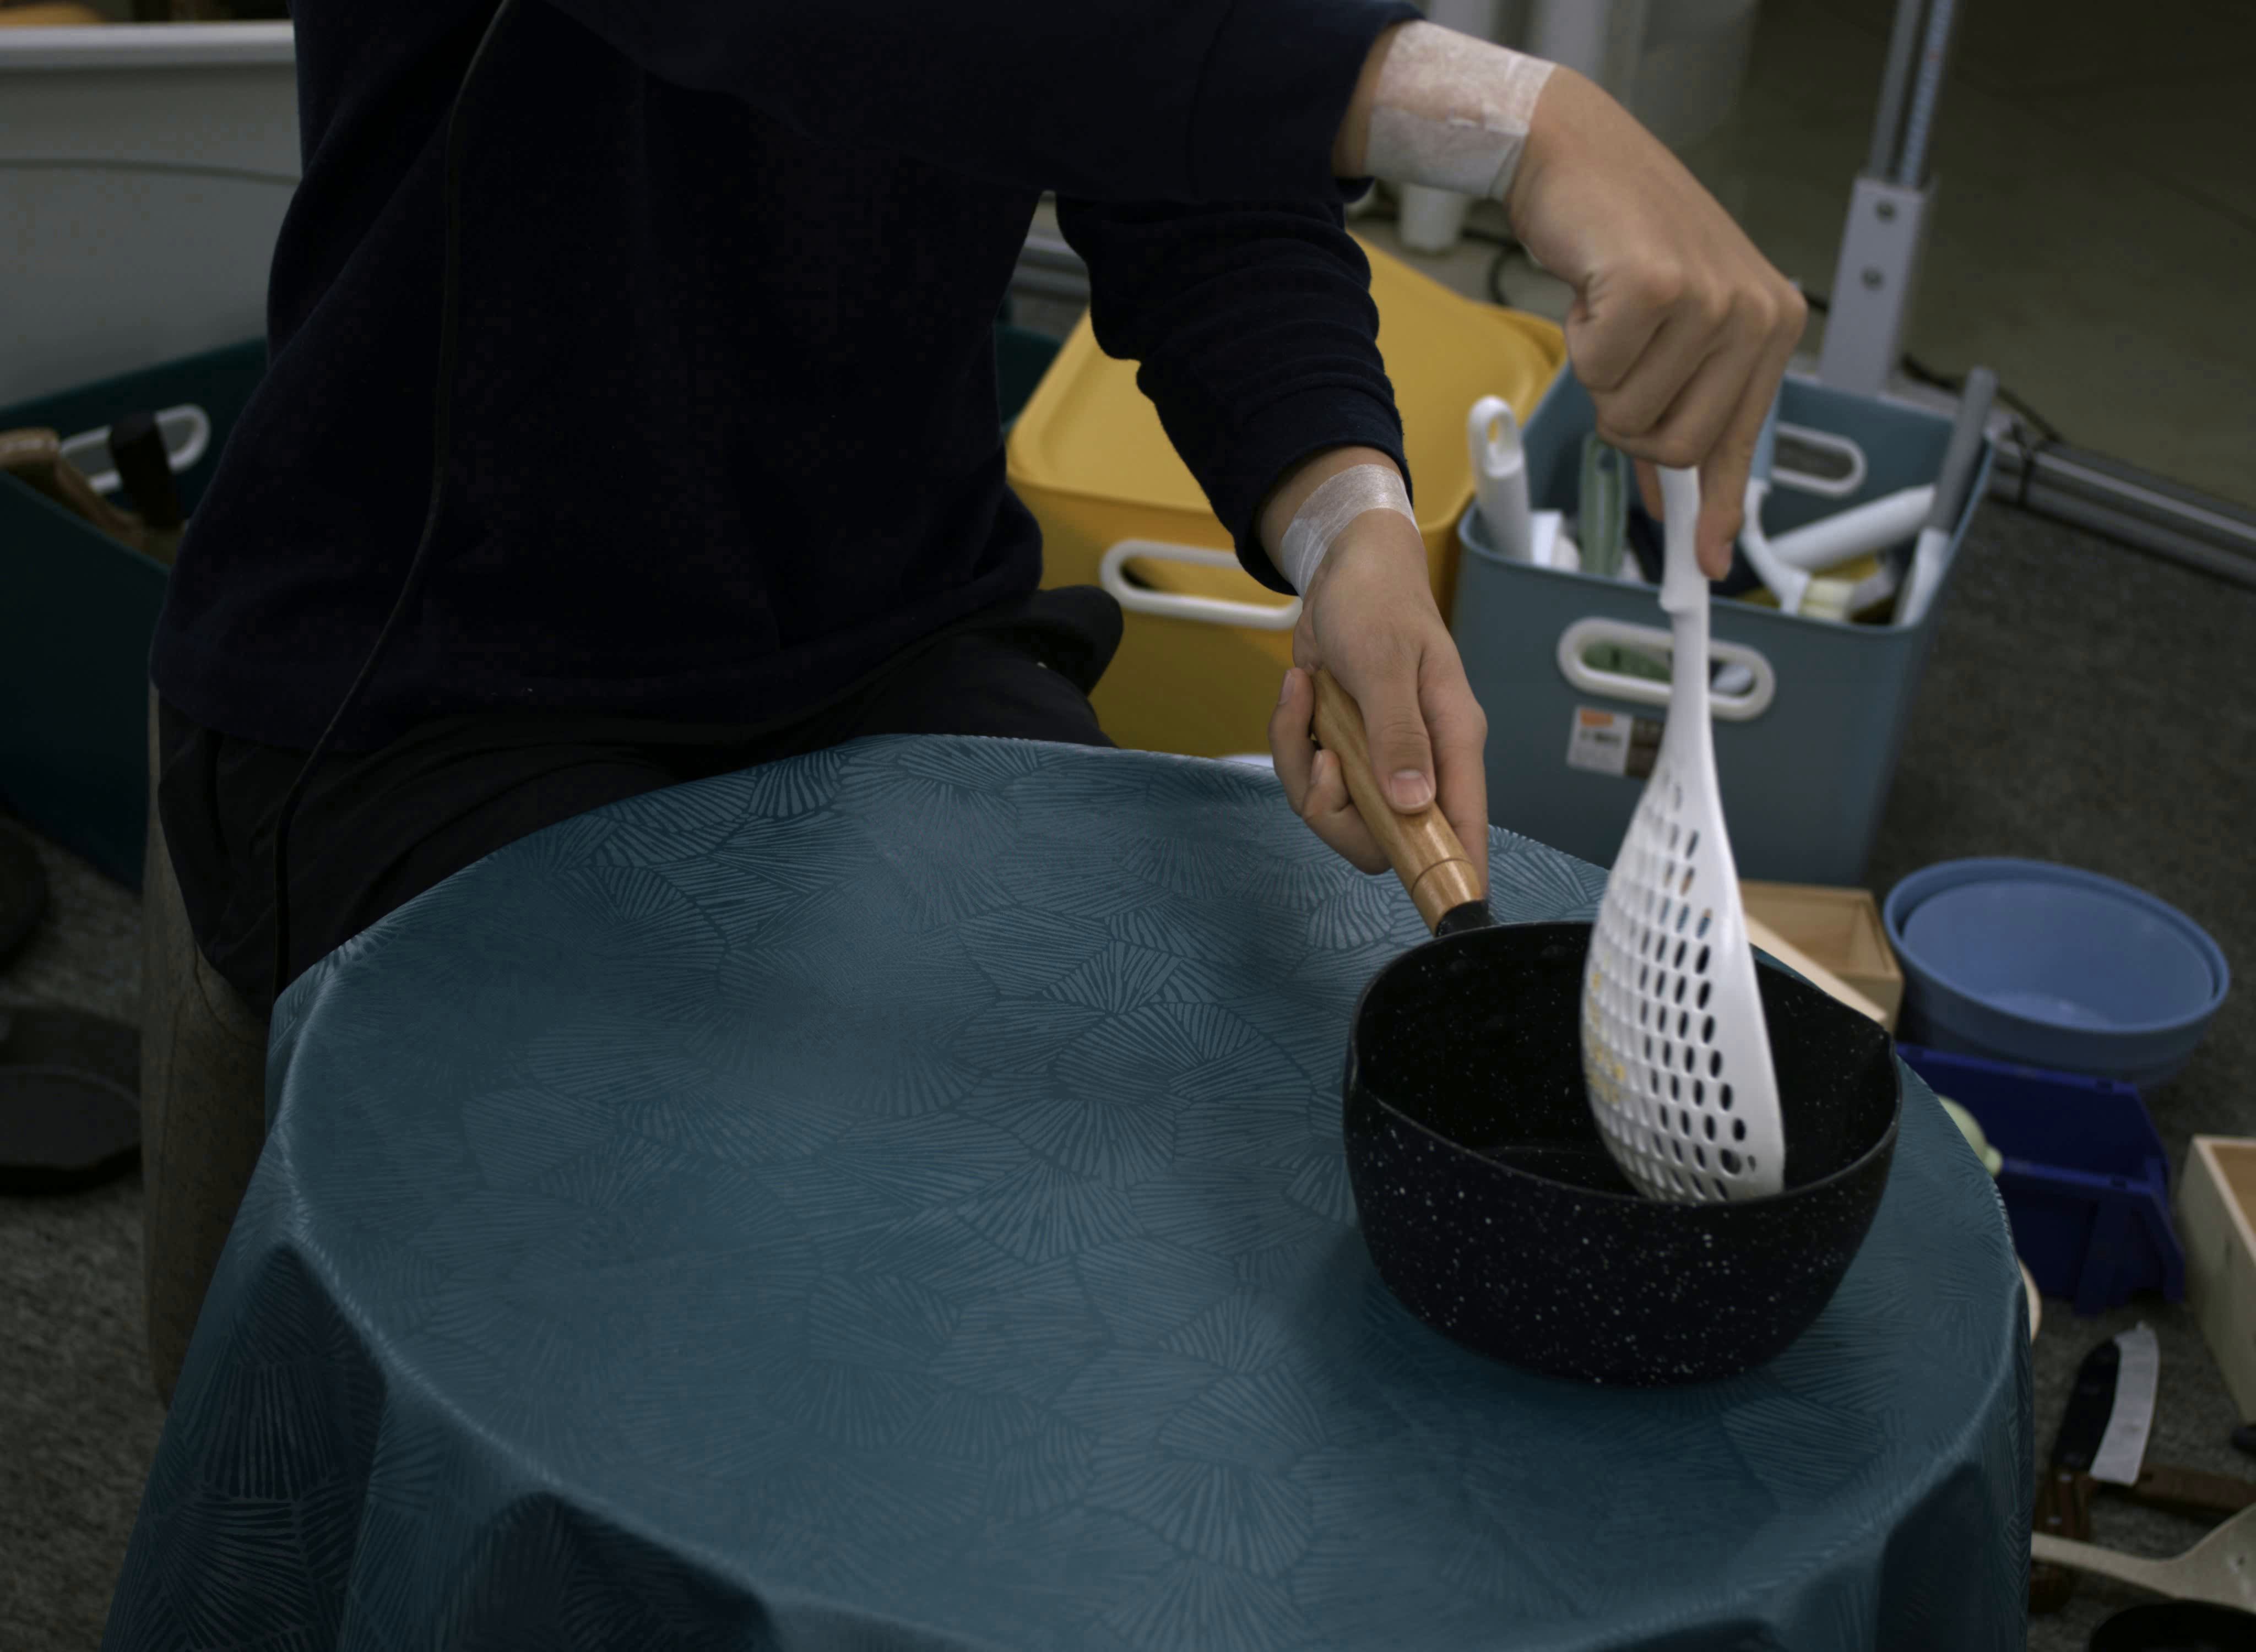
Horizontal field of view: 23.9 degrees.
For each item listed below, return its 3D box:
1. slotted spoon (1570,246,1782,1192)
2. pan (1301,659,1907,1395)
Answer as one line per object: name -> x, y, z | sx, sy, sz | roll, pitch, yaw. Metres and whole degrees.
slotted spoon -> 0.173, -0.022, 1.729 | 0.050, 0.347, 0.138 | -5, 22, -16
pan -> 0.130, 0.066, 1.827 | 0.206, 0.108, 0.346 | -7, 31, -23
